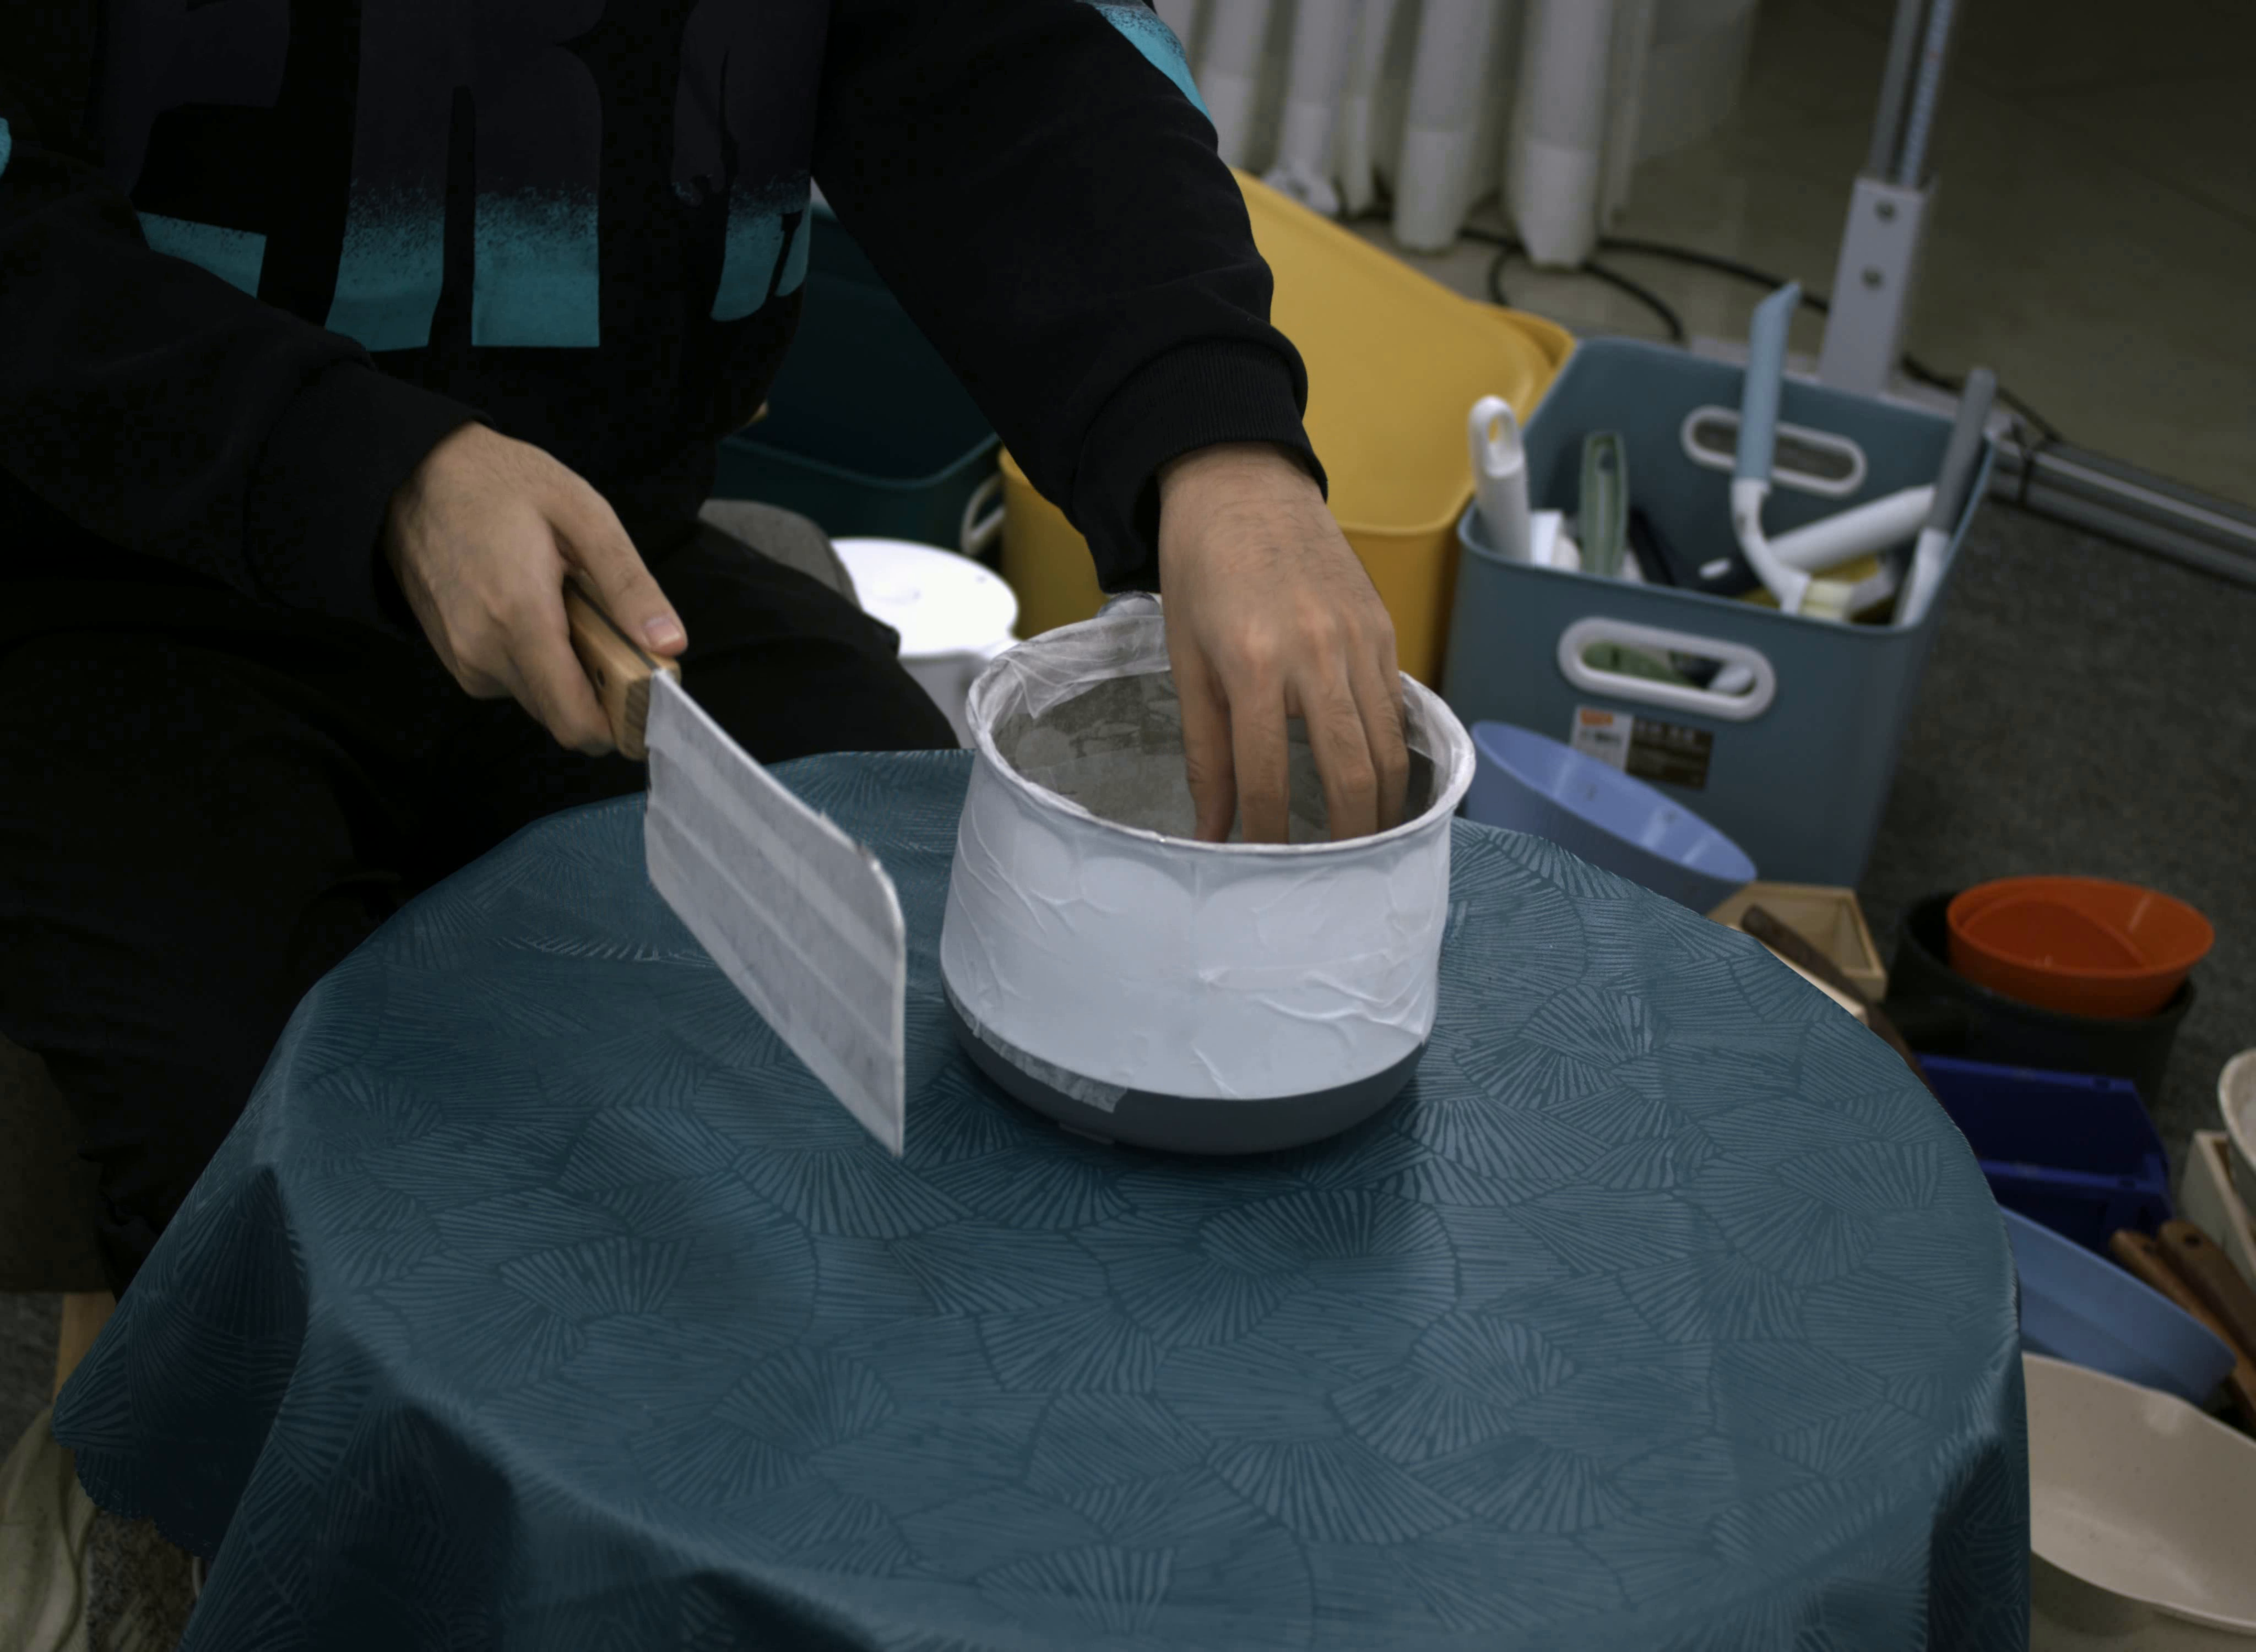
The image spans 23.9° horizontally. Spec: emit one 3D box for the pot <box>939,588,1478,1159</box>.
[{"bbox_3d":[0.017,0.009,1.879,0.177,0.136,0.236,-3,29,-19],"label":"pot"}]

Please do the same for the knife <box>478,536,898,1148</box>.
[{"bbox_3d":[-0.146,-0.011,1.778,0.021,0.113,0.318,-14,38,-26],"label":"knife"}]
